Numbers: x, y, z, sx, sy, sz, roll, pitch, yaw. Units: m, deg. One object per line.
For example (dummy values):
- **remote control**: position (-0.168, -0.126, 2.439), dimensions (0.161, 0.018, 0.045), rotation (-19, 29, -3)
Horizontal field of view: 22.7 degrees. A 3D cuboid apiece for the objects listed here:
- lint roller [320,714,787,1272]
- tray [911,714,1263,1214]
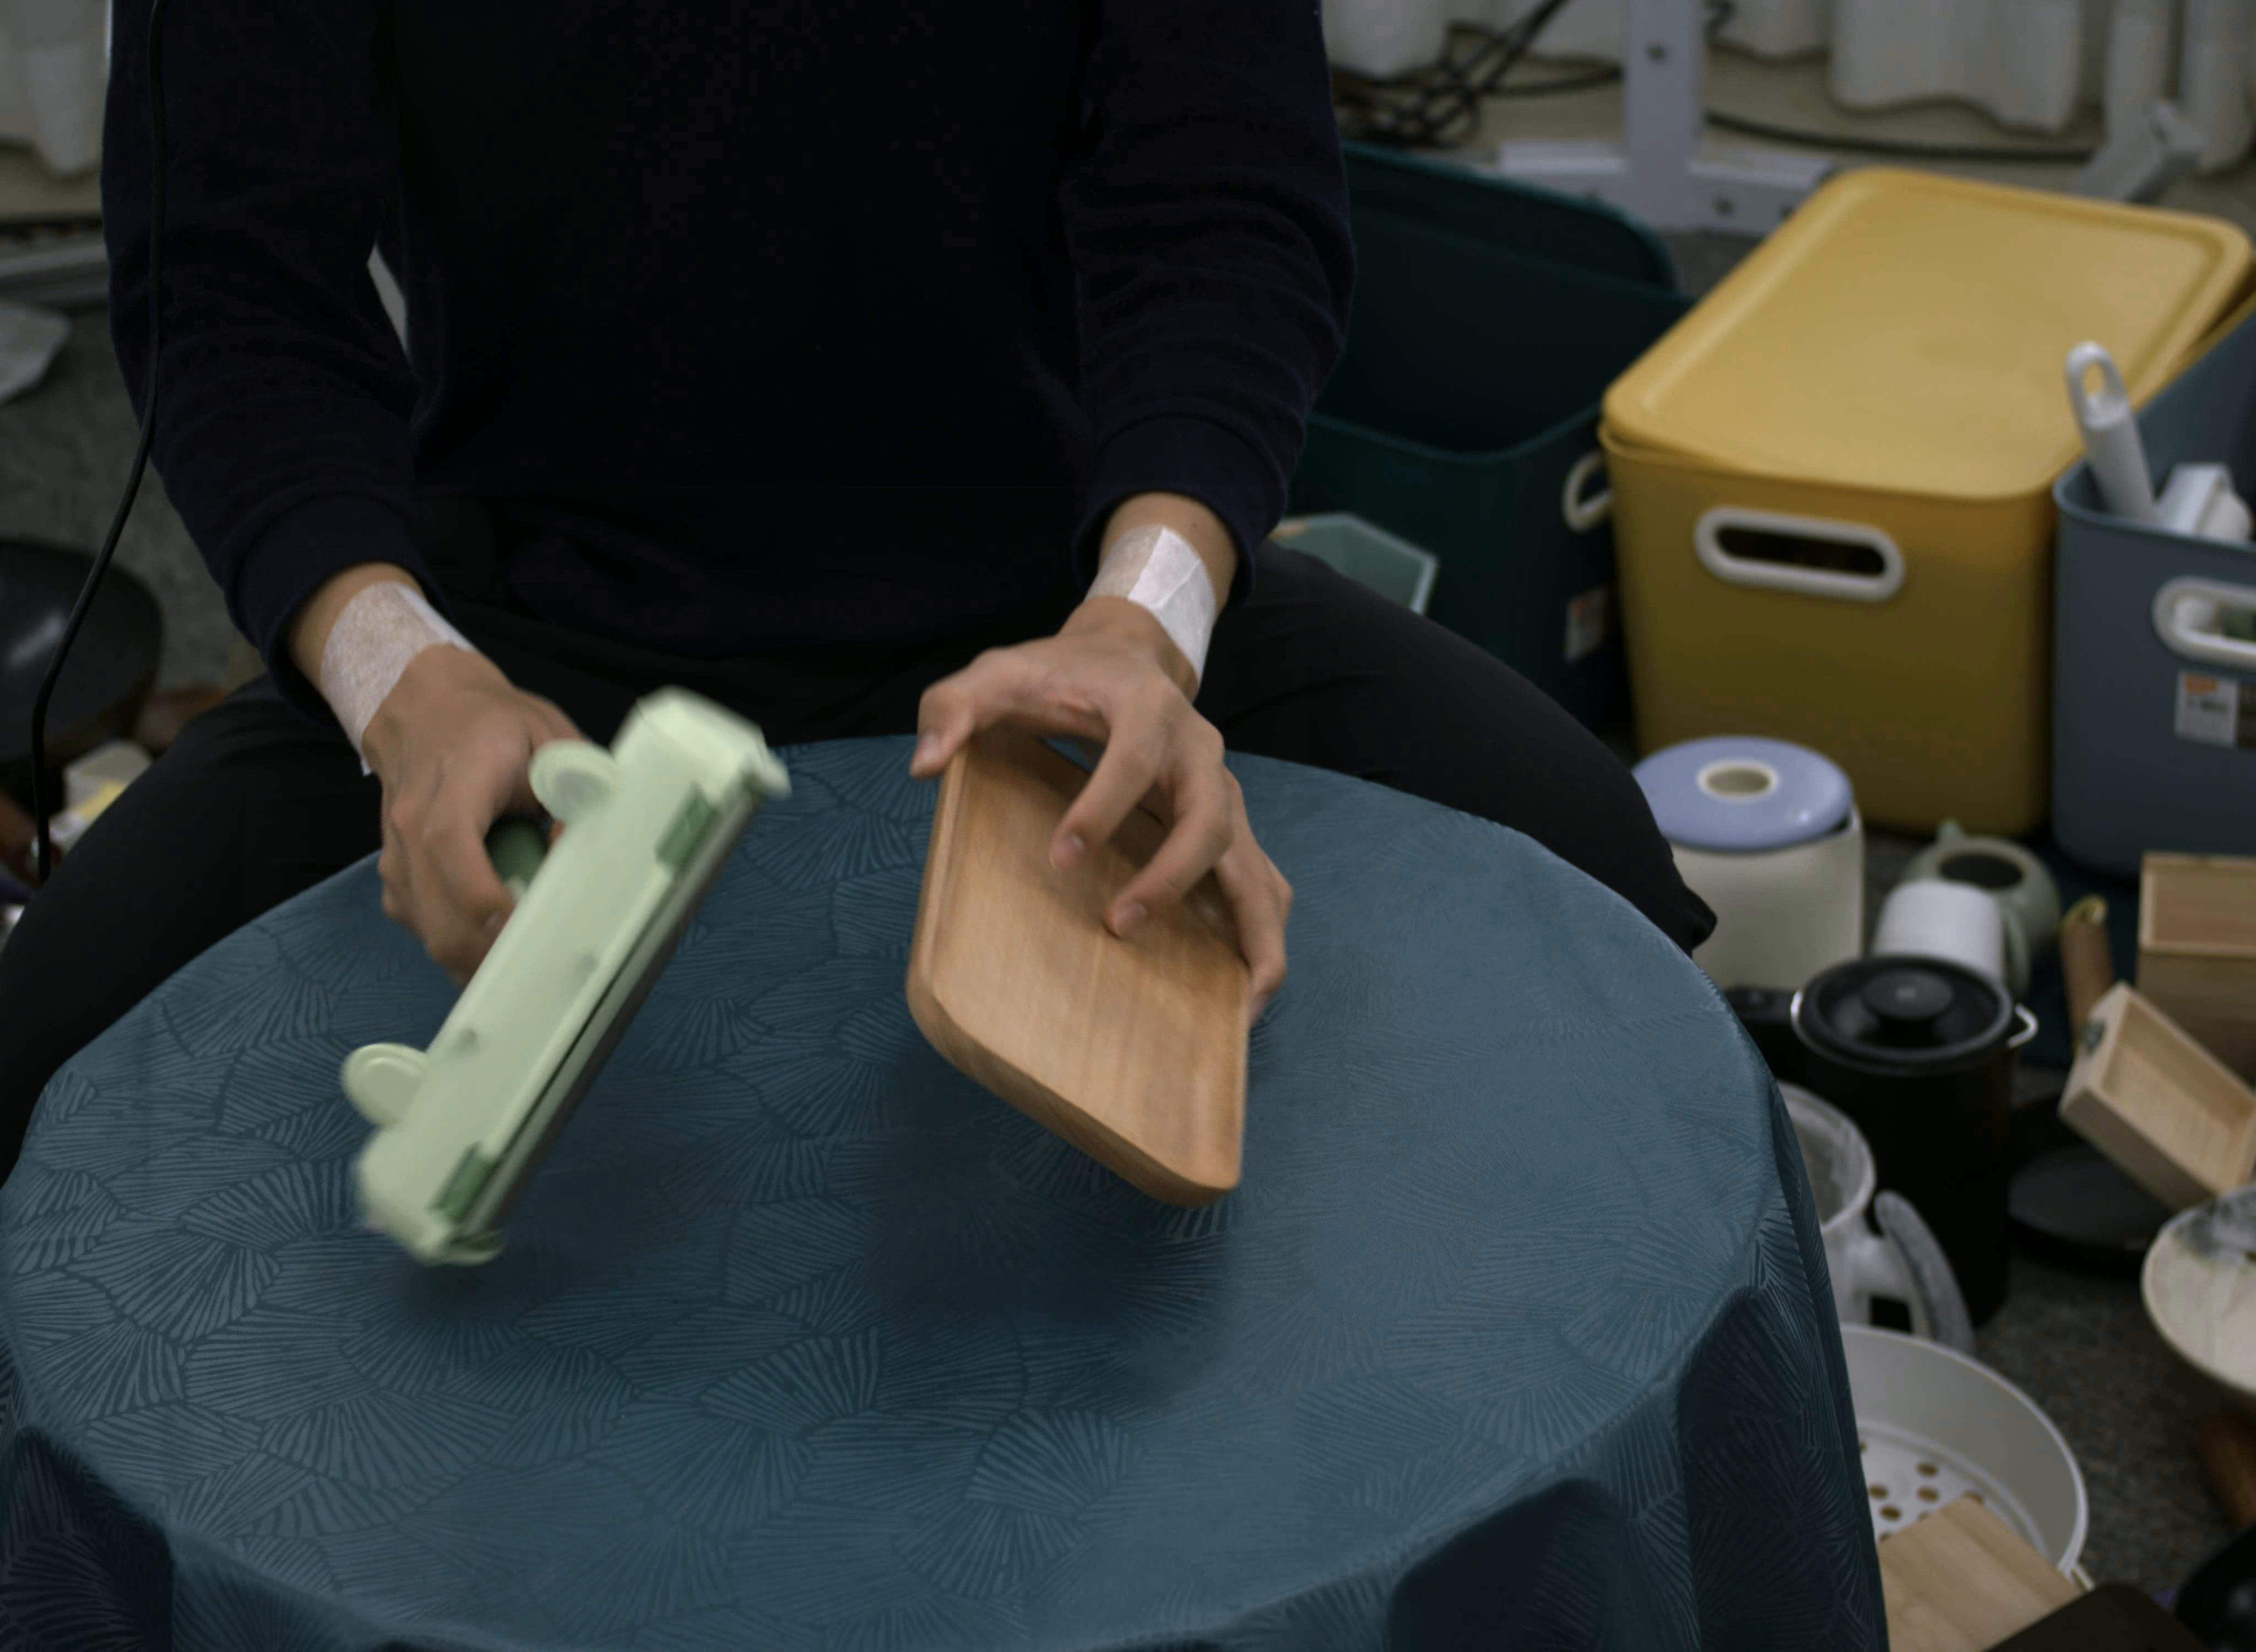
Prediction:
- **lint roller**: position (-0.213, 0.028, 1.851), dimensions (0.082, 0.198, 0.184), rotation (35, 5, -38)
- **tray**: position (-0.012, 0.044, 1.866), dimensions (0.130, 0.022, 0.254), rotation (35, 20, -12)
